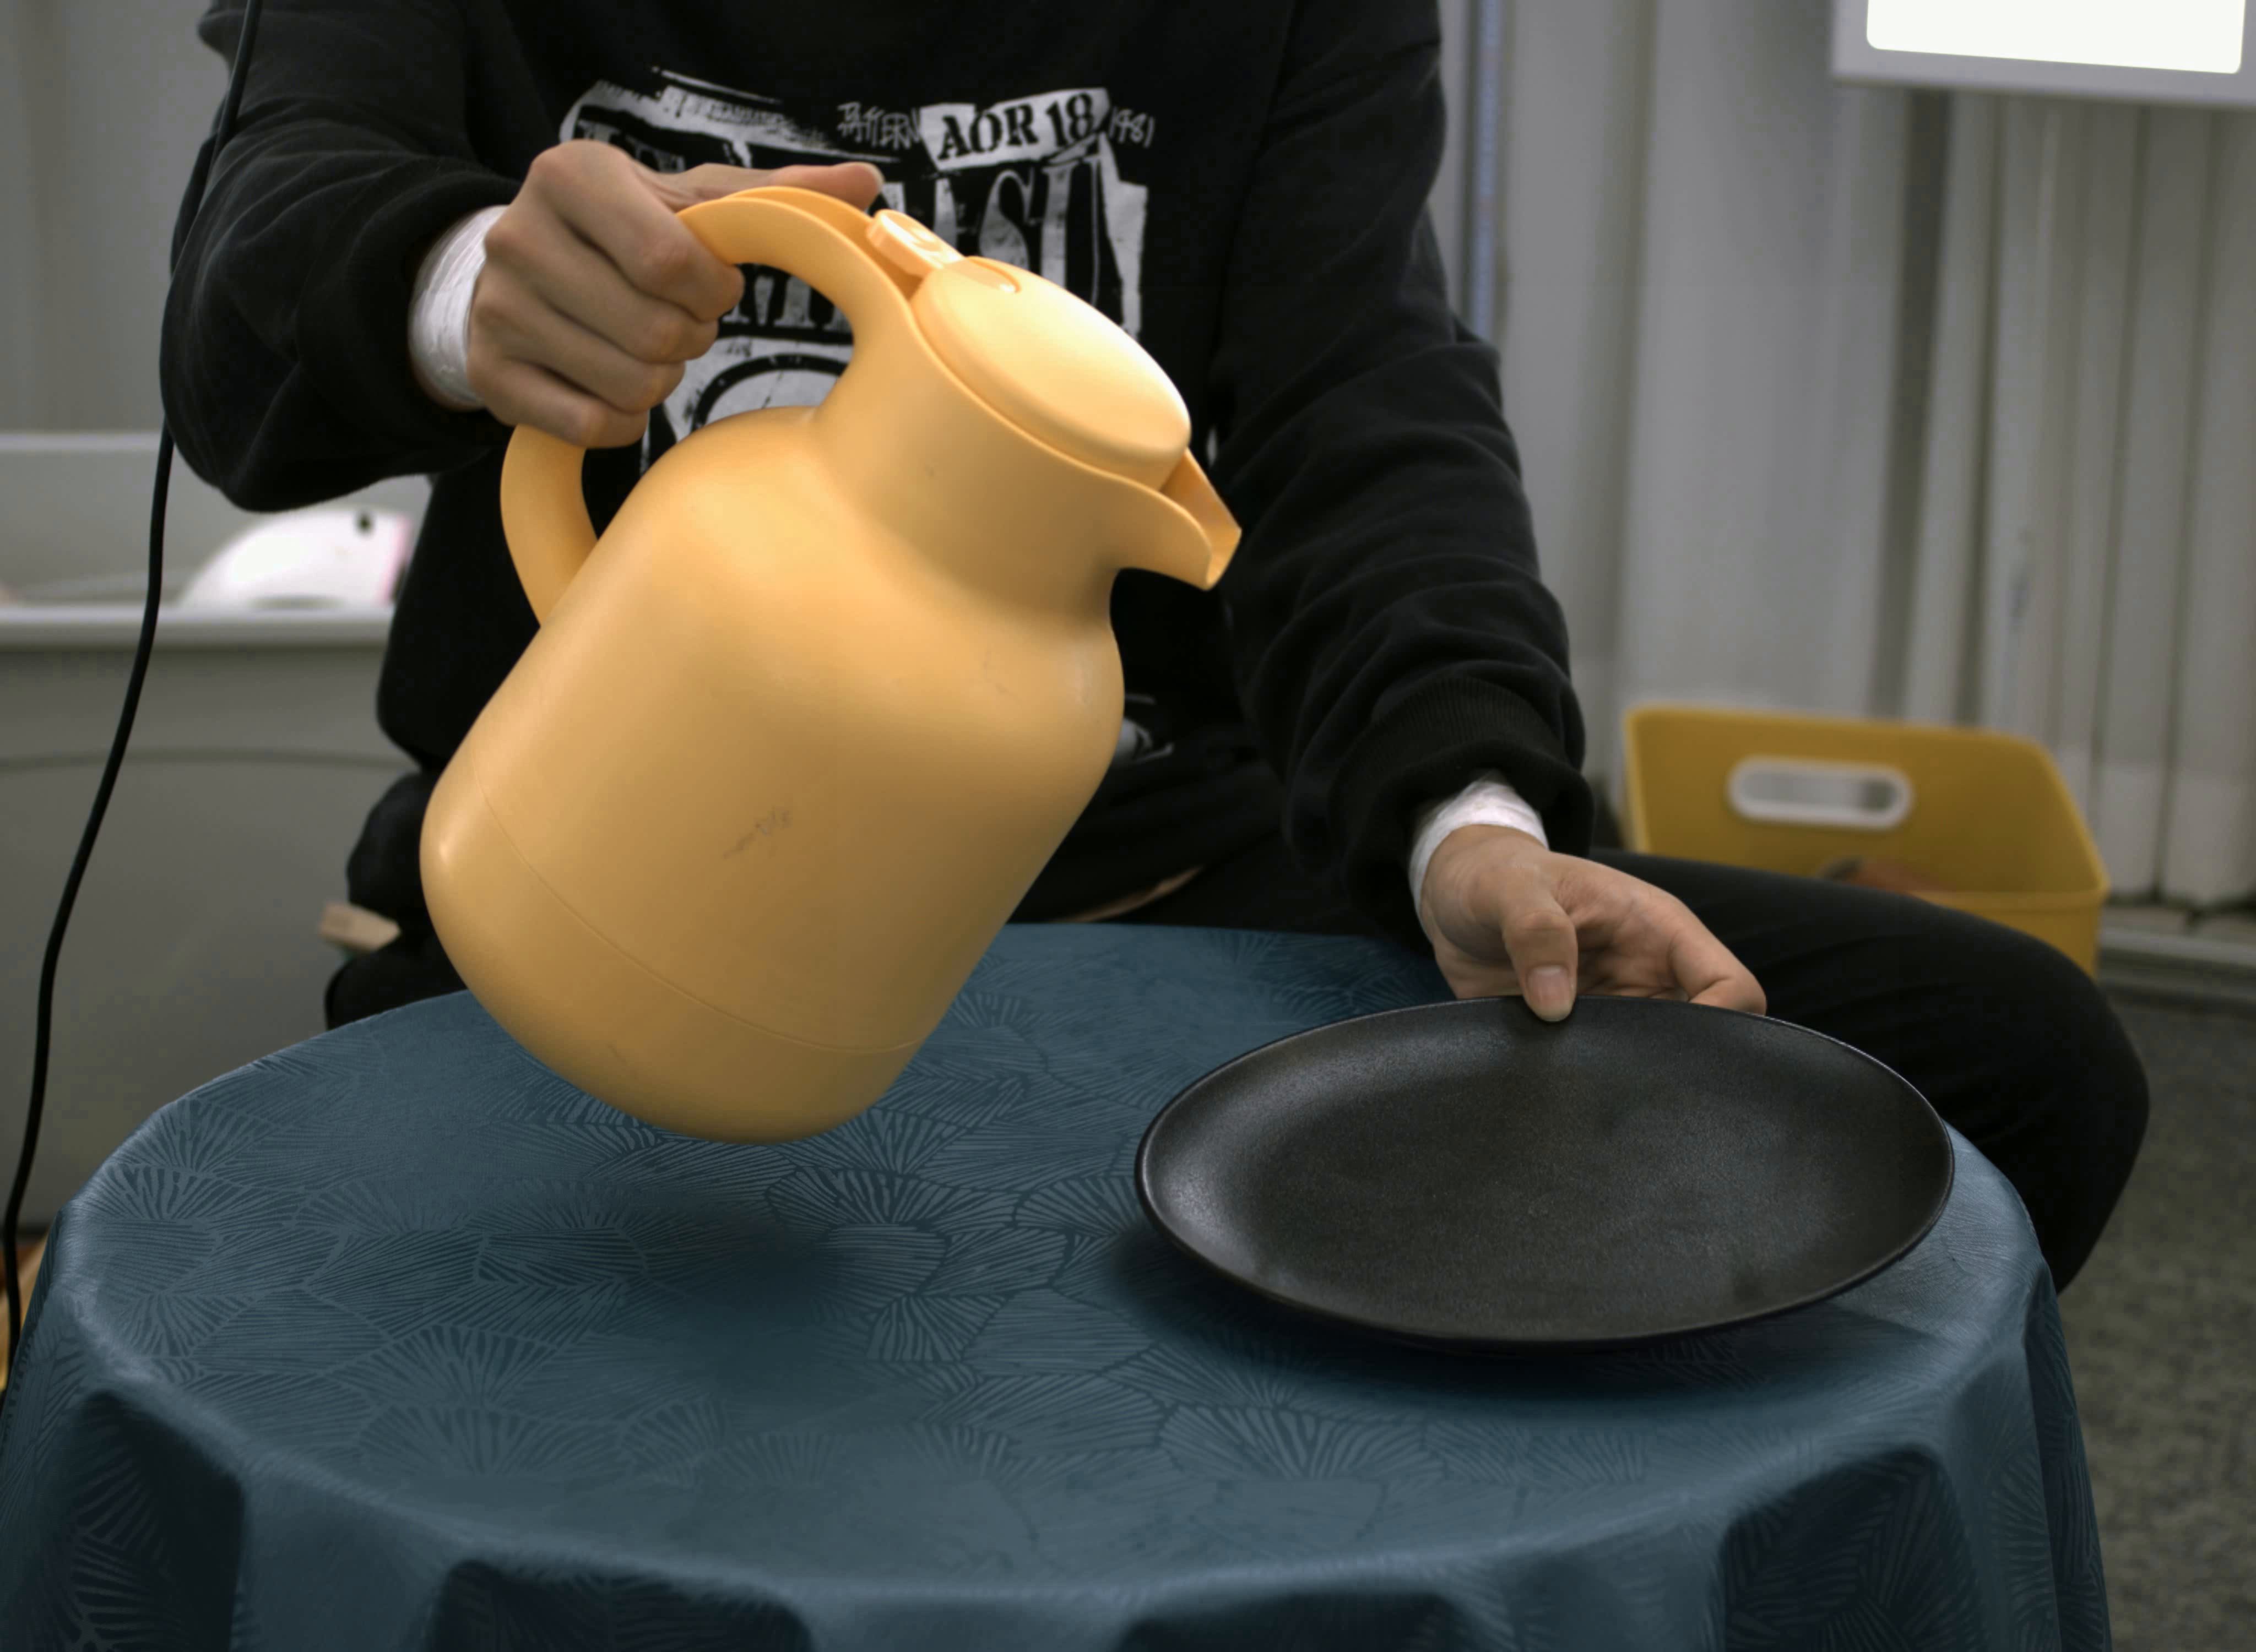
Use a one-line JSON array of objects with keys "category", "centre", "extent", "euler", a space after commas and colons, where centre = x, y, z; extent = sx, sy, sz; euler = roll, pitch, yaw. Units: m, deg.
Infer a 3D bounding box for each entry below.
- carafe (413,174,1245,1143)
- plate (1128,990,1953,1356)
[{"category": "carafe", "centre": [-0.098, -0.056, 1.524], "extent": [0.201, 0.261, 0.164], "euler": [41, 22, 9]}, {"category": "plate", "centre": [0.122, 0.107, 1.566], "extent": [0.243, 0.023, 0.243], "euler": [-1, 22, 1]}]
